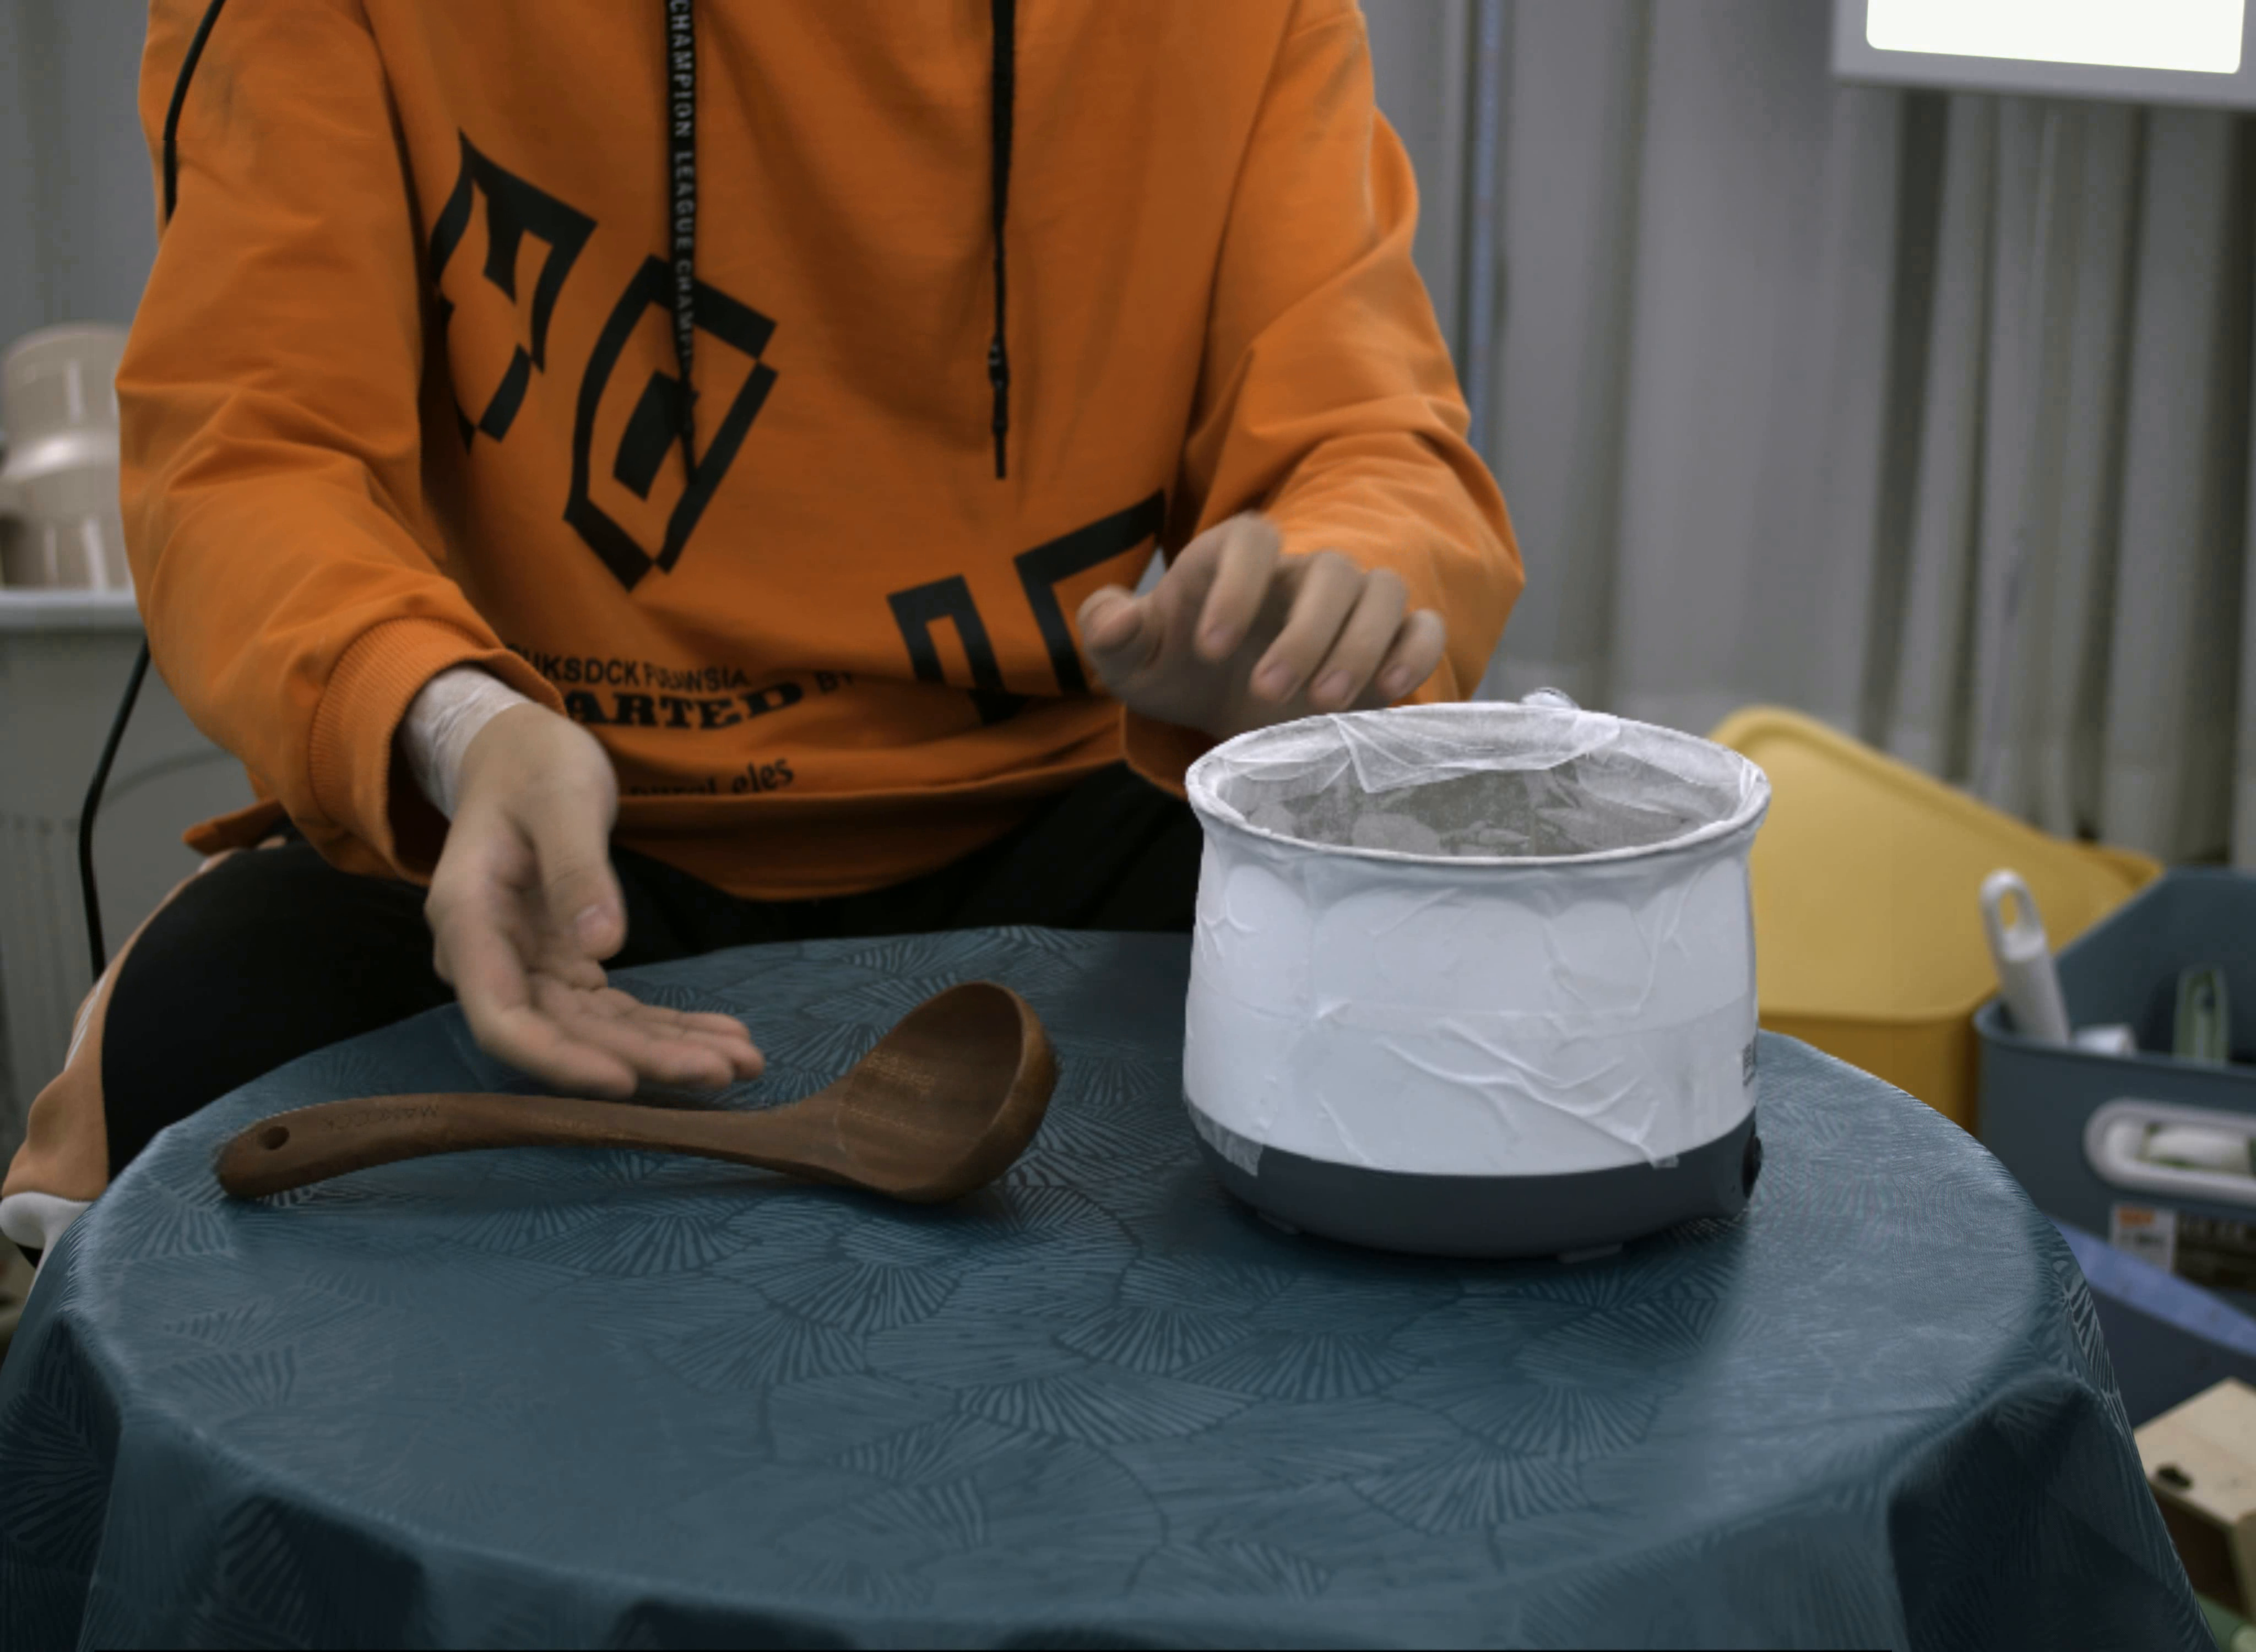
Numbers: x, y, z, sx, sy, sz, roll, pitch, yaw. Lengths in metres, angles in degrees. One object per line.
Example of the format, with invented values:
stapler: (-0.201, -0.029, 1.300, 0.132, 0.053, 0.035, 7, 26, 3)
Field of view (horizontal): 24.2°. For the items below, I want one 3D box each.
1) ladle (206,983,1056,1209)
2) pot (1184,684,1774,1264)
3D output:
ladle: (-0.152, 0.085, 1.604, 0.260, 0.066, 0.076, 0, 41, -5)
pot: (0.112, 0.039, 1.630, 0.177, 0.138, 0.233, 5, 17, 14)
